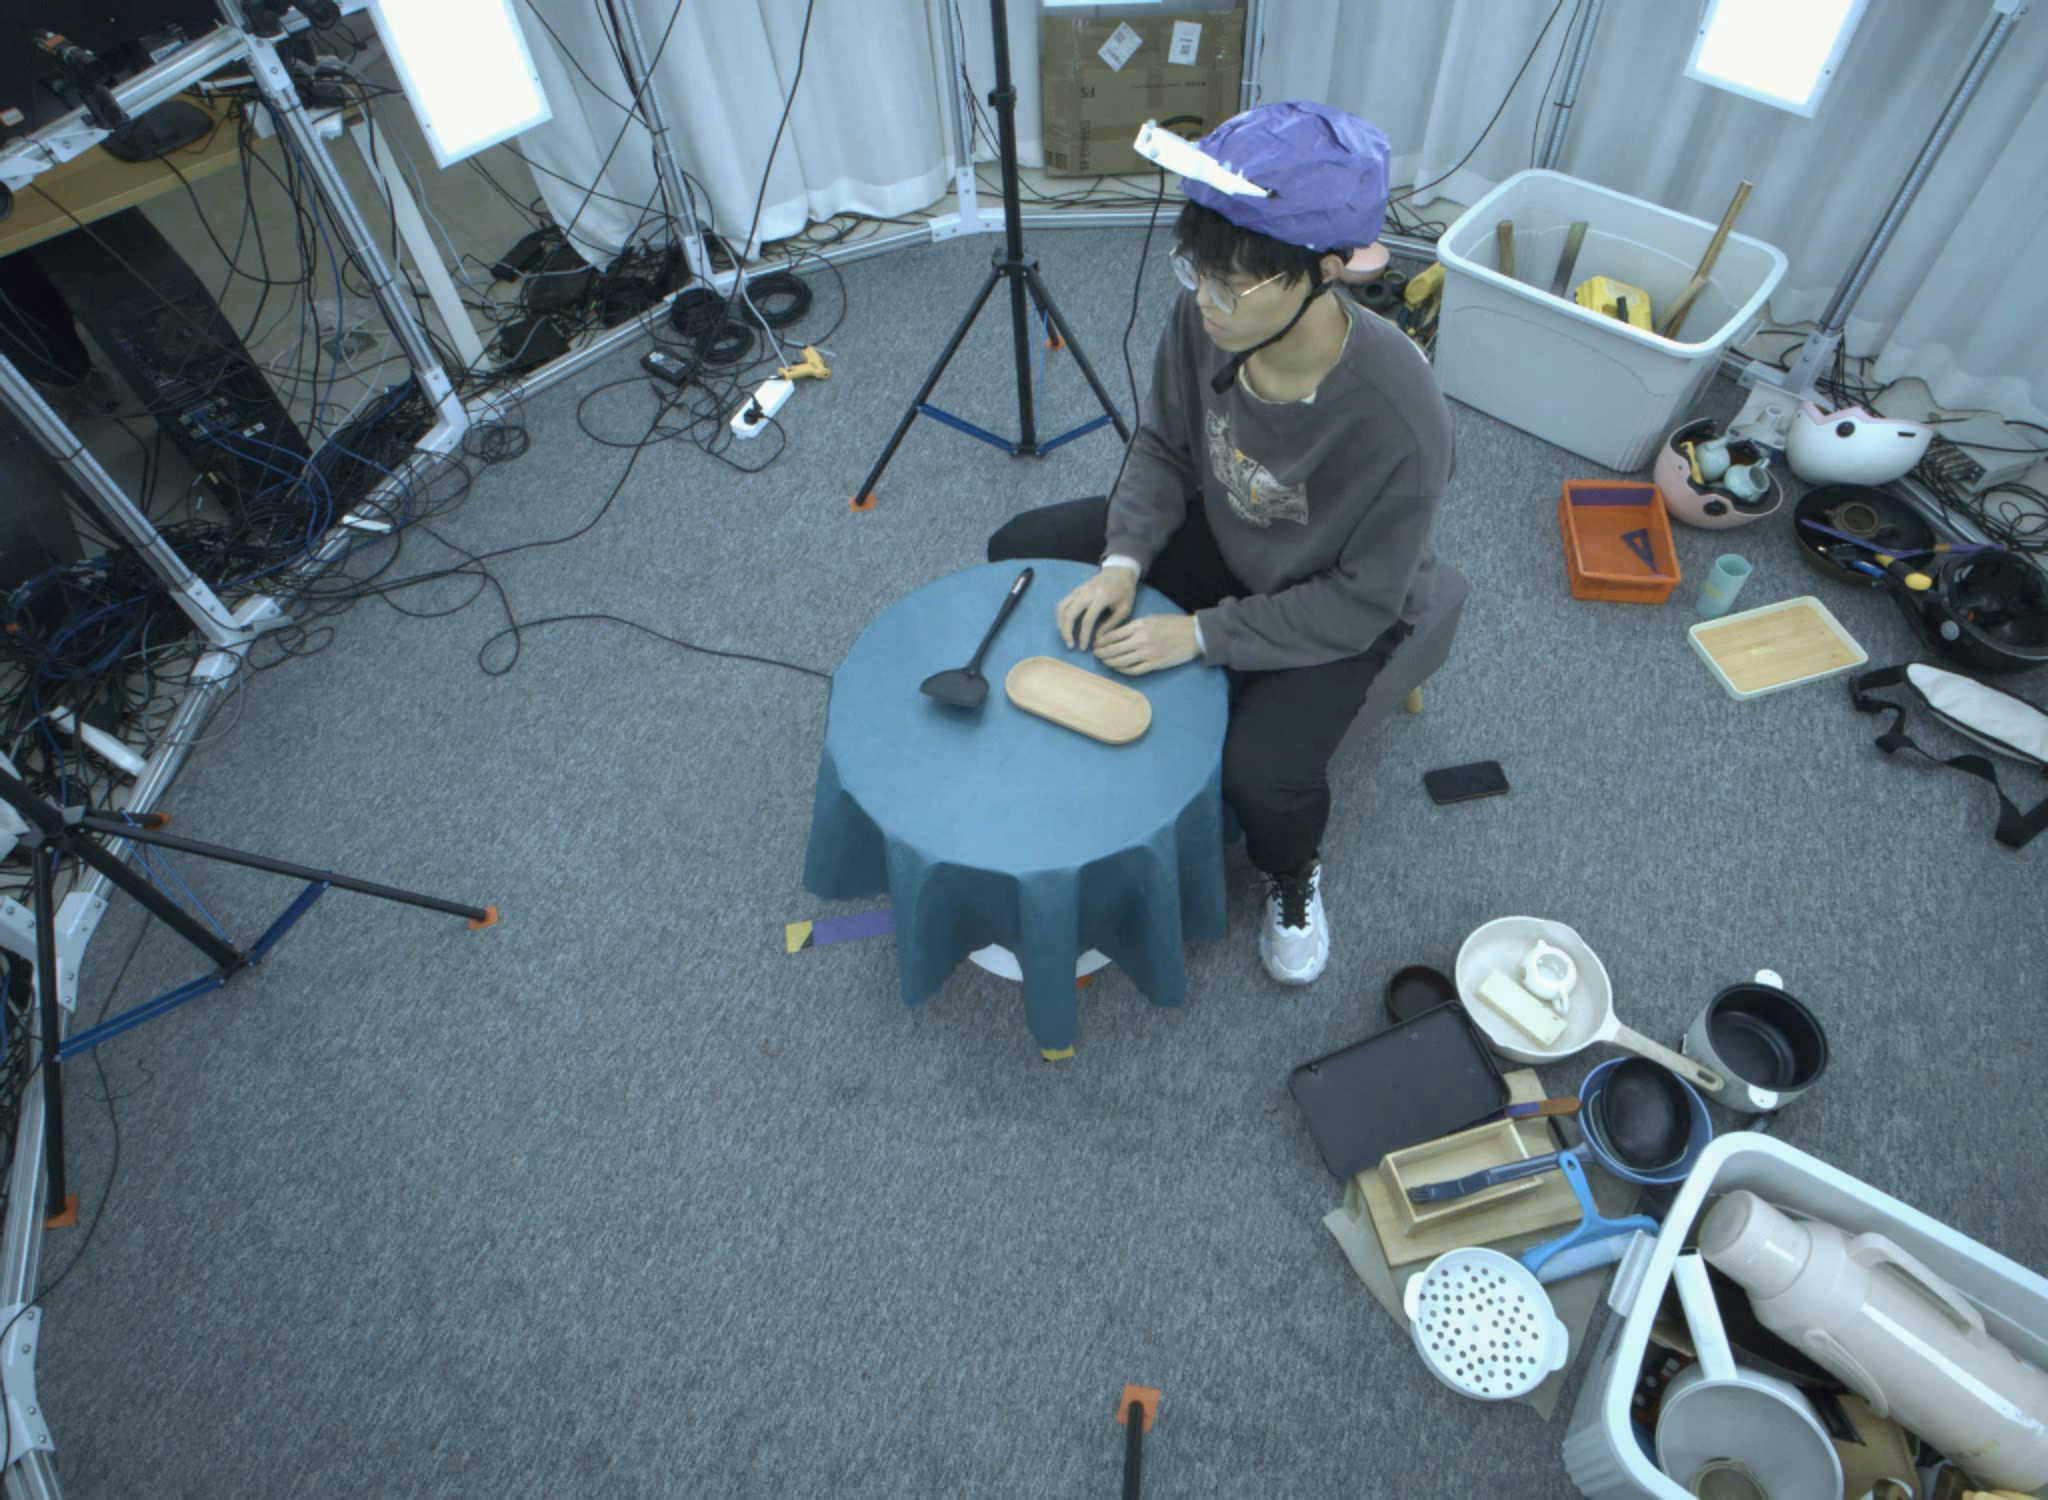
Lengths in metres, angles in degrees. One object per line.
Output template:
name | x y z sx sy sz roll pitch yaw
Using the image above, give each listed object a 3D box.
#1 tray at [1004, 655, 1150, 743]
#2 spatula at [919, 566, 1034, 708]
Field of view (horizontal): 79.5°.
tray | 0.077 -0.075 1.827 0.228 0.020 0.102 22 57 18
spatula | -0.053 -0.183 1.896 0.099 0.041 0.326 18 57 14
